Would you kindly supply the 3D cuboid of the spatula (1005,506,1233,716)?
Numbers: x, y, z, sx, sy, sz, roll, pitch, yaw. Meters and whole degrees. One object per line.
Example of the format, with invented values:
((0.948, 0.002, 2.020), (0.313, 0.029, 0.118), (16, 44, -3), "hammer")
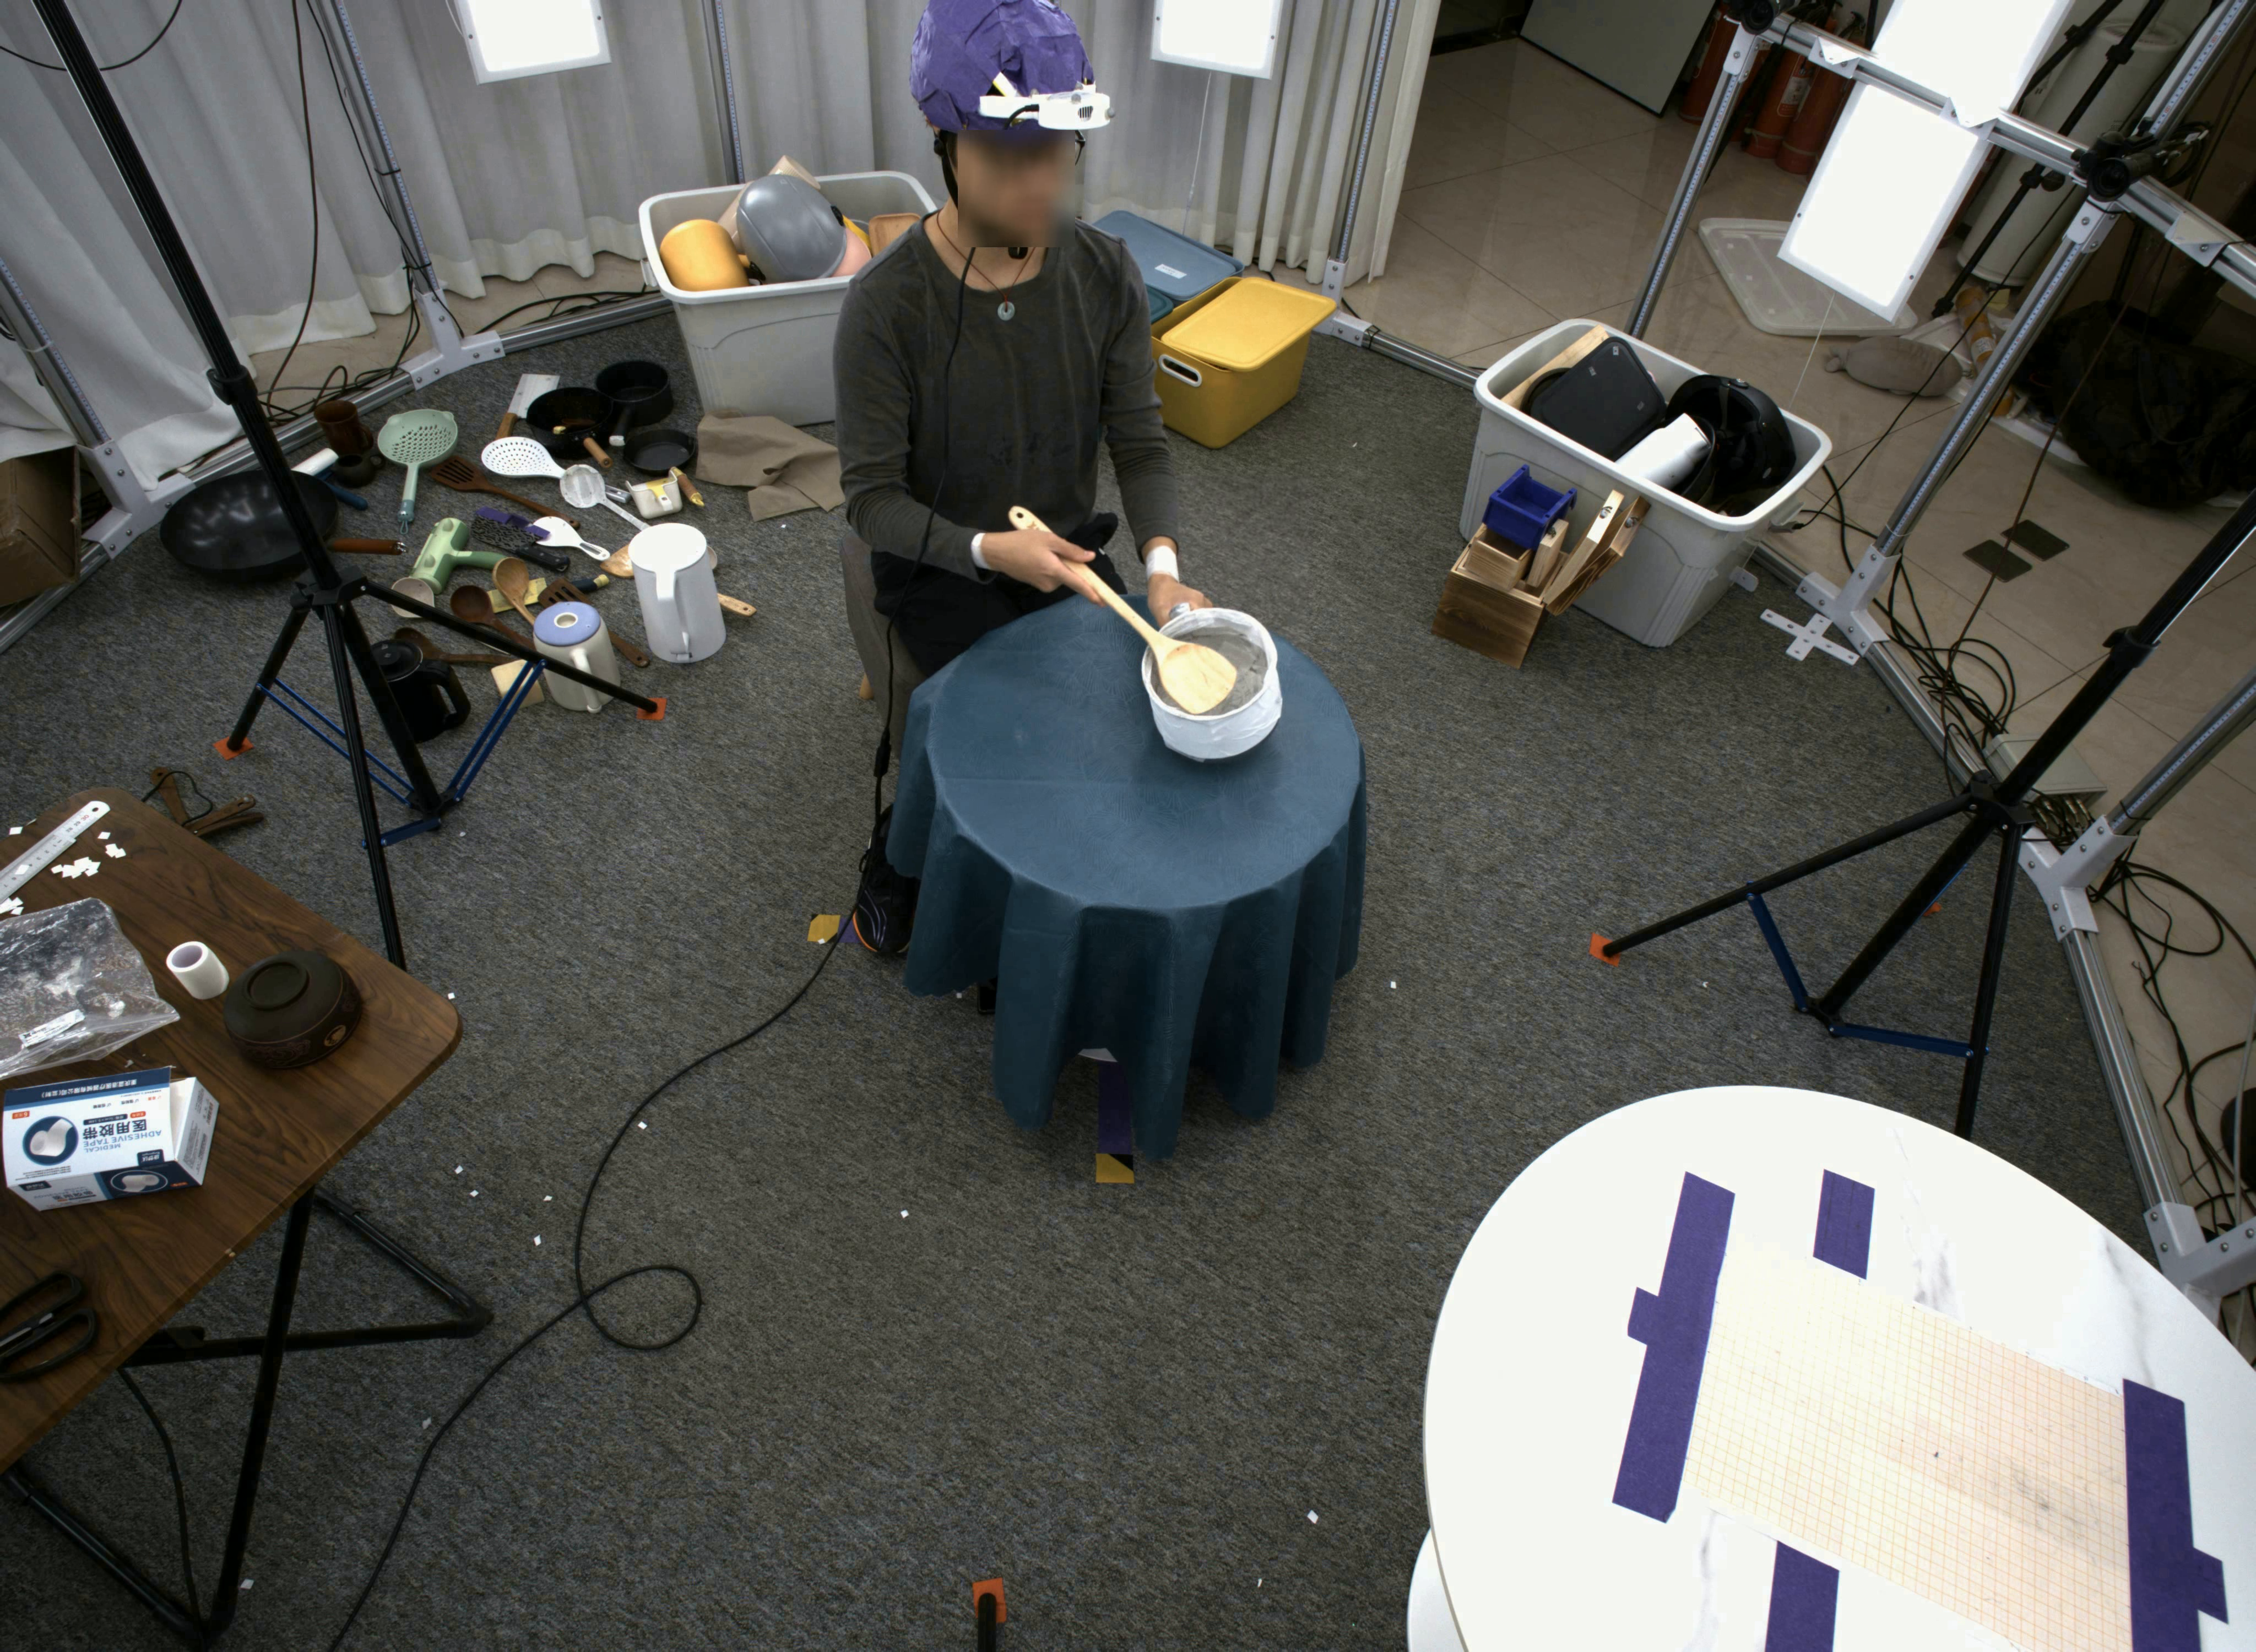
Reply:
((-0.024, -0.291, 1.688), (0.393, 0.018, 0.096), (44, 67, 10), "spatula")

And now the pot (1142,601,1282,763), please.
((0.105, -0.206, 1.728), (0.179, 0.133, 0.239), (-22, 60, -2), "pot")
